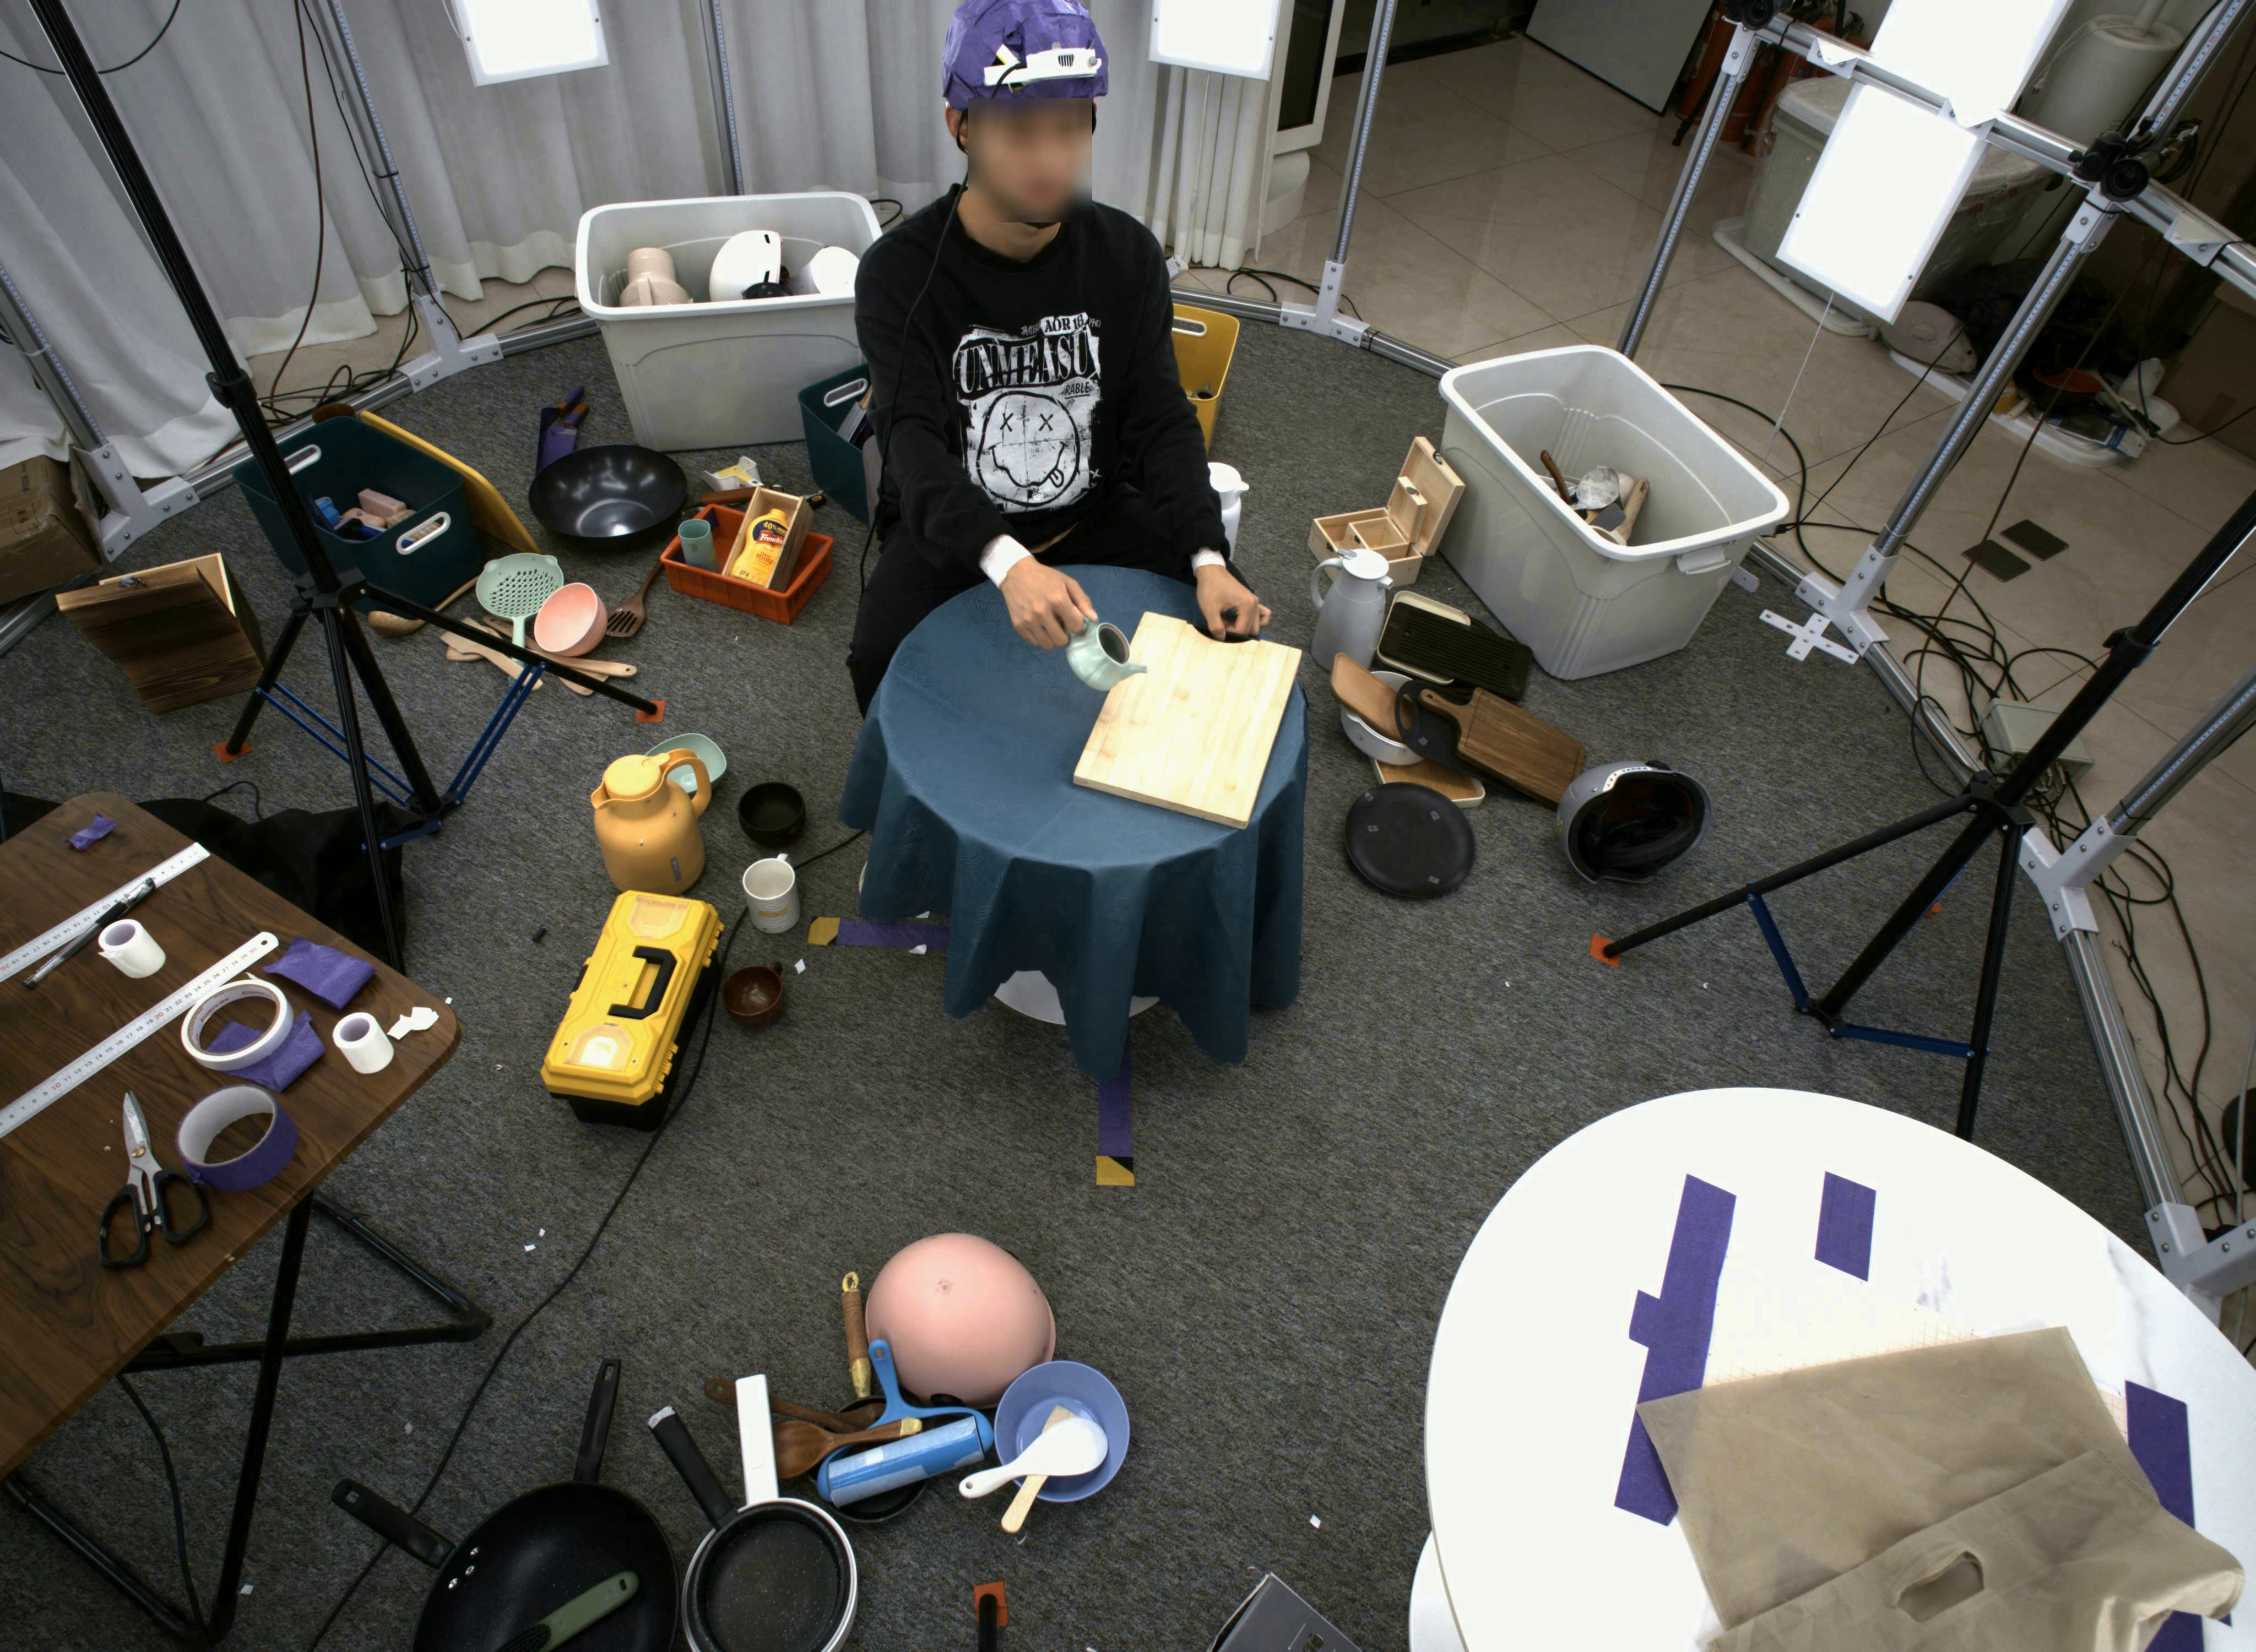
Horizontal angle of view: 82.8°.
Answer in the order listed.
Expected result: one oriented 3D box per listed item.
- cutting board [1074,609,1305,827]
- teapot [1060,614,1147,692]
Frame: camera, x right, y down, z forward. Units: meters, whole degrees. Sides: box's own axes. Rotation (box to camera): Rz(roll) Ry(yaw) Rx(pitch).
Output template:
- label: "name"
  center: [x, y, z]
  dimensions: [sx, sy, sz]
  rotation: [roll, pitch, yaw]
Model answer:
- label: "cutting board"
  center: [0.092, -0.161, 1.798]
  dimensions: [0.251, 0.023, 0.356]
  rotation: [14, 51, 8]
- label: "teapot"
  center: [-0.041, -0.231, 1.692]
  dimensions: [0.135, 0.061, 0.098]
  rotation: [35, 44, -30]
